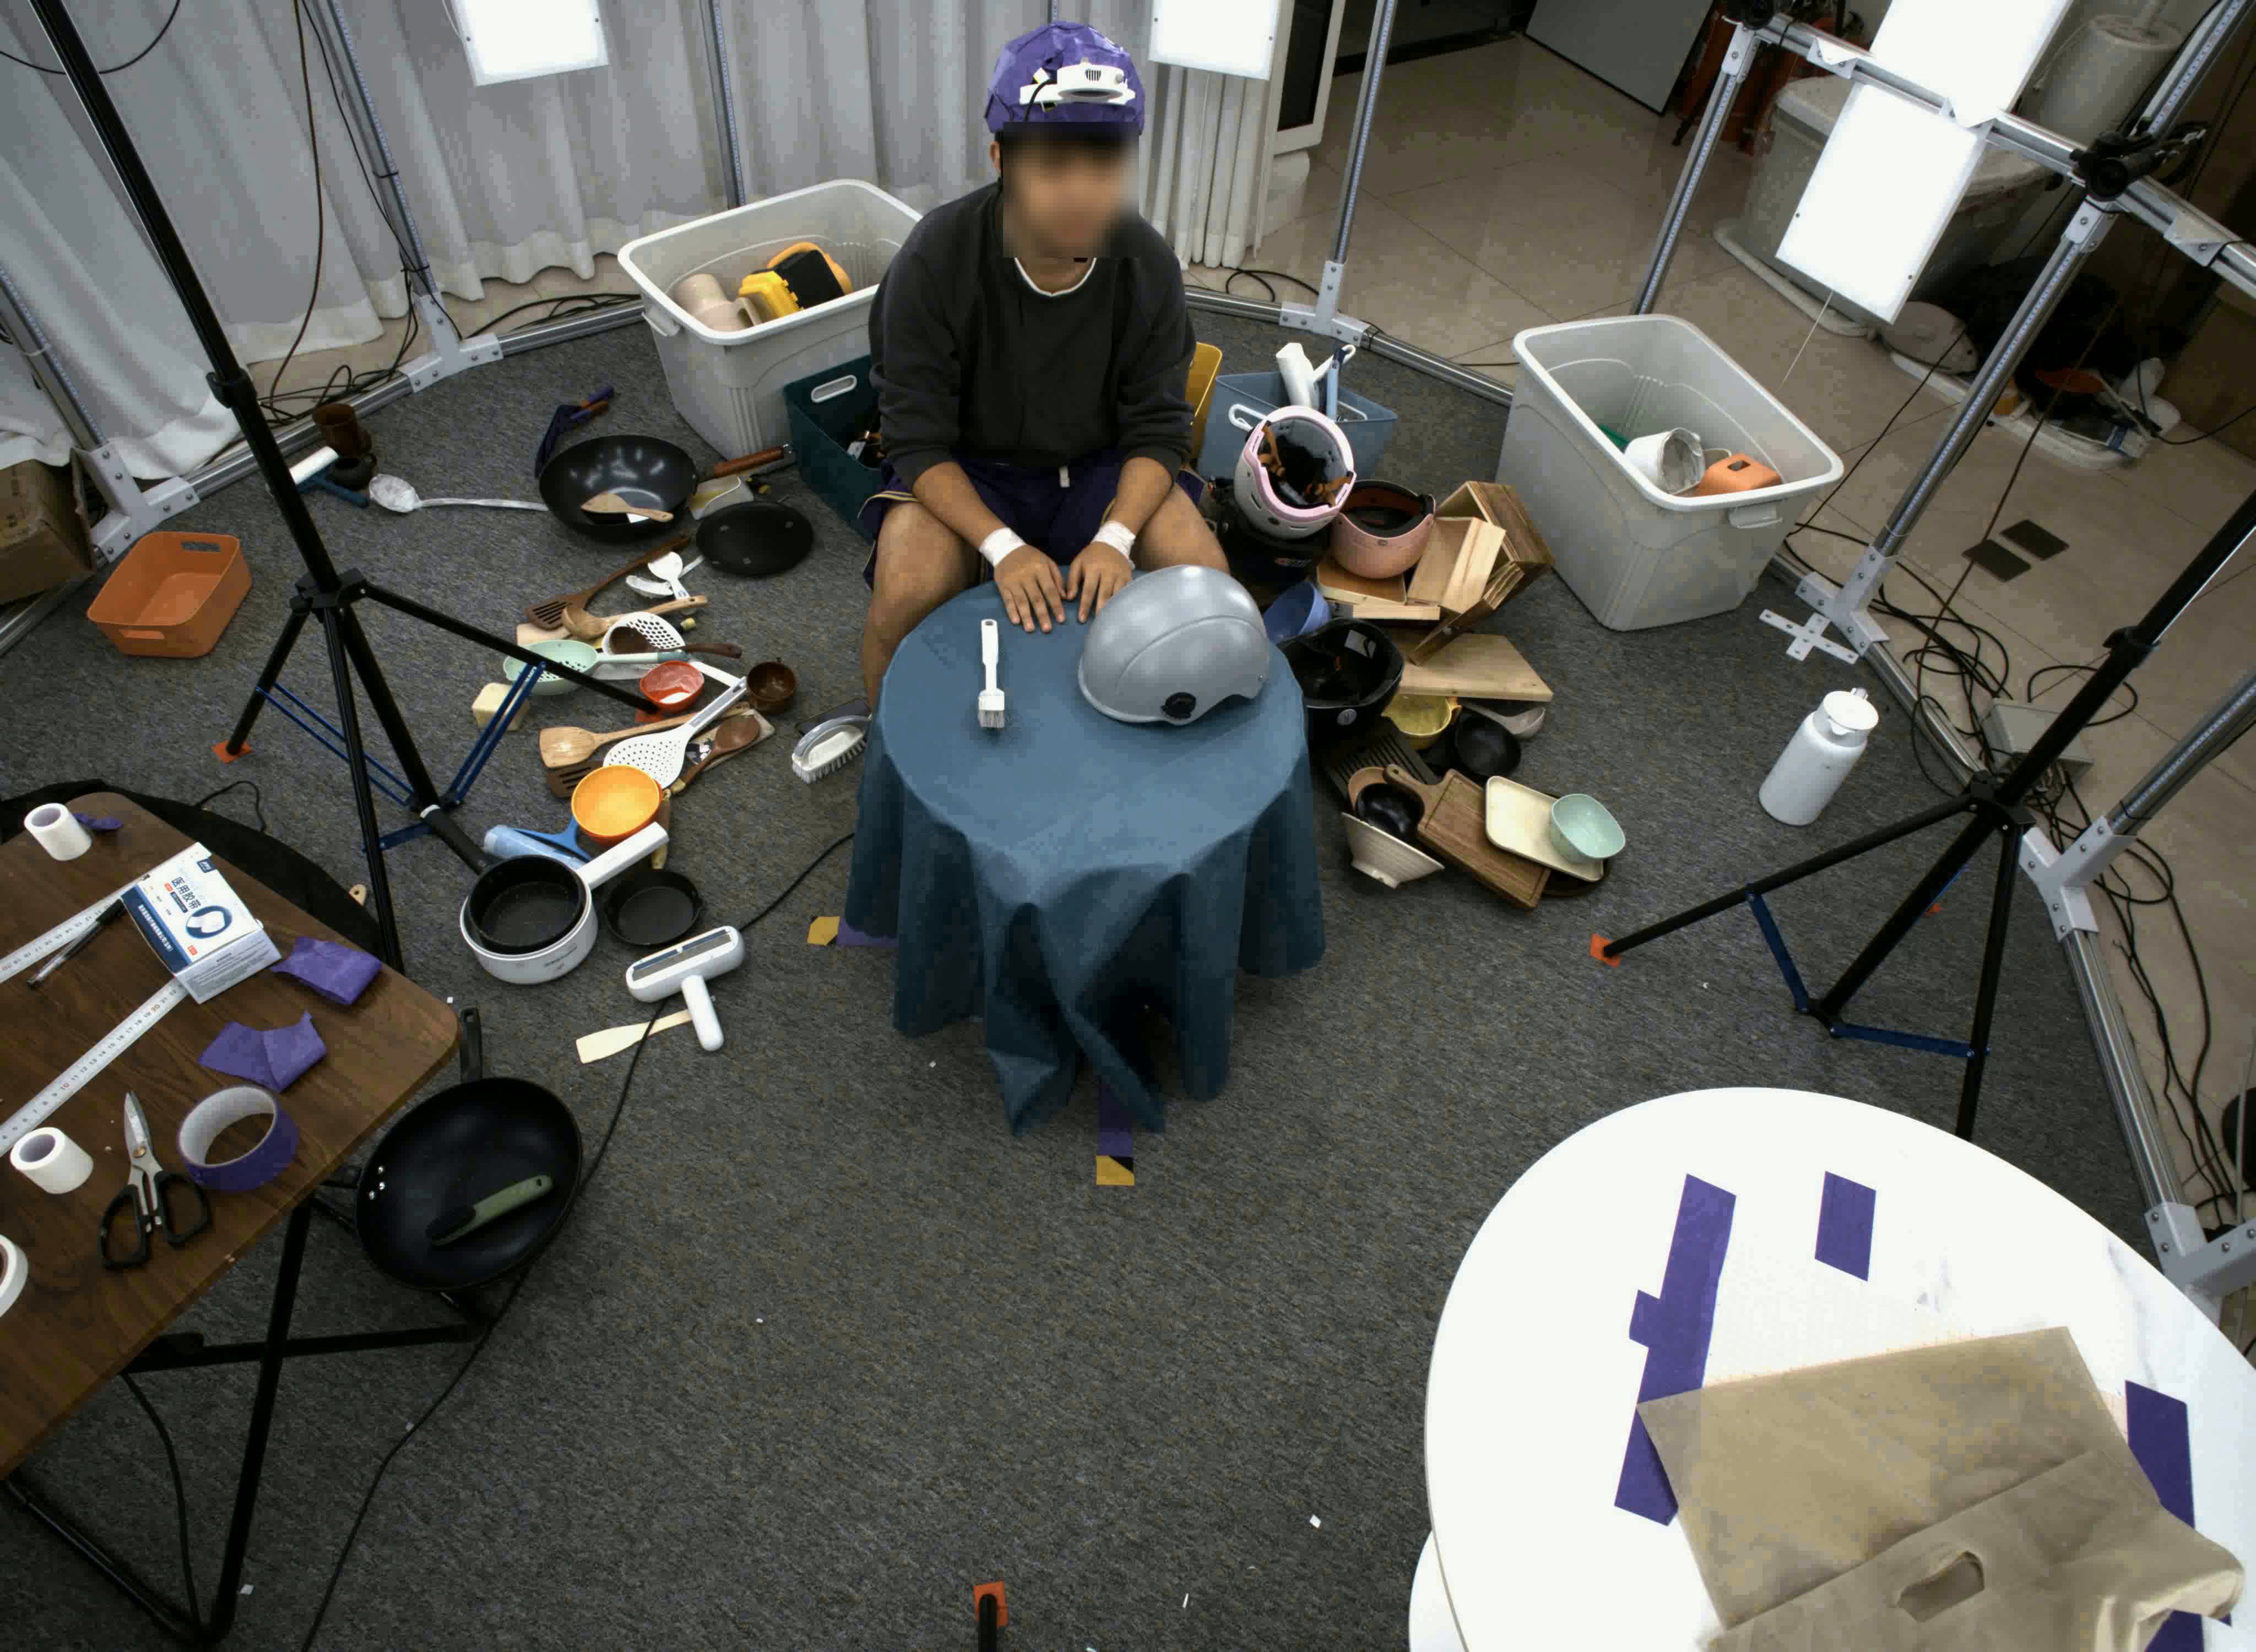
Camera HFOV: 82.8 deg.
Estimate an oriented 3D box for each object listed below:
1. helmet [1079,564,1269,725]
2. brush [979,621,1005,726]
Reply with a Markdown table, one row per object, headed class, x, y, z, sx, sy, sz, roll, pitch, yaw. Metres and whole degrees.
| class | x | y | z | sx | sy | sz | roll | pitch | yaw |
| --- | --- | --- | --- | --- | --- | --- | --- | --- | --- |
| helmet | 0.065 | -0.273 | 1.803 | 0.276 | 0.164 | 0.237 | -15 | 52 | -14 |
| brush | -0.197 | -0.216 | 1.826 | 0.034 | 0.049 | 0.249 | 0 | 36 | -9 |
